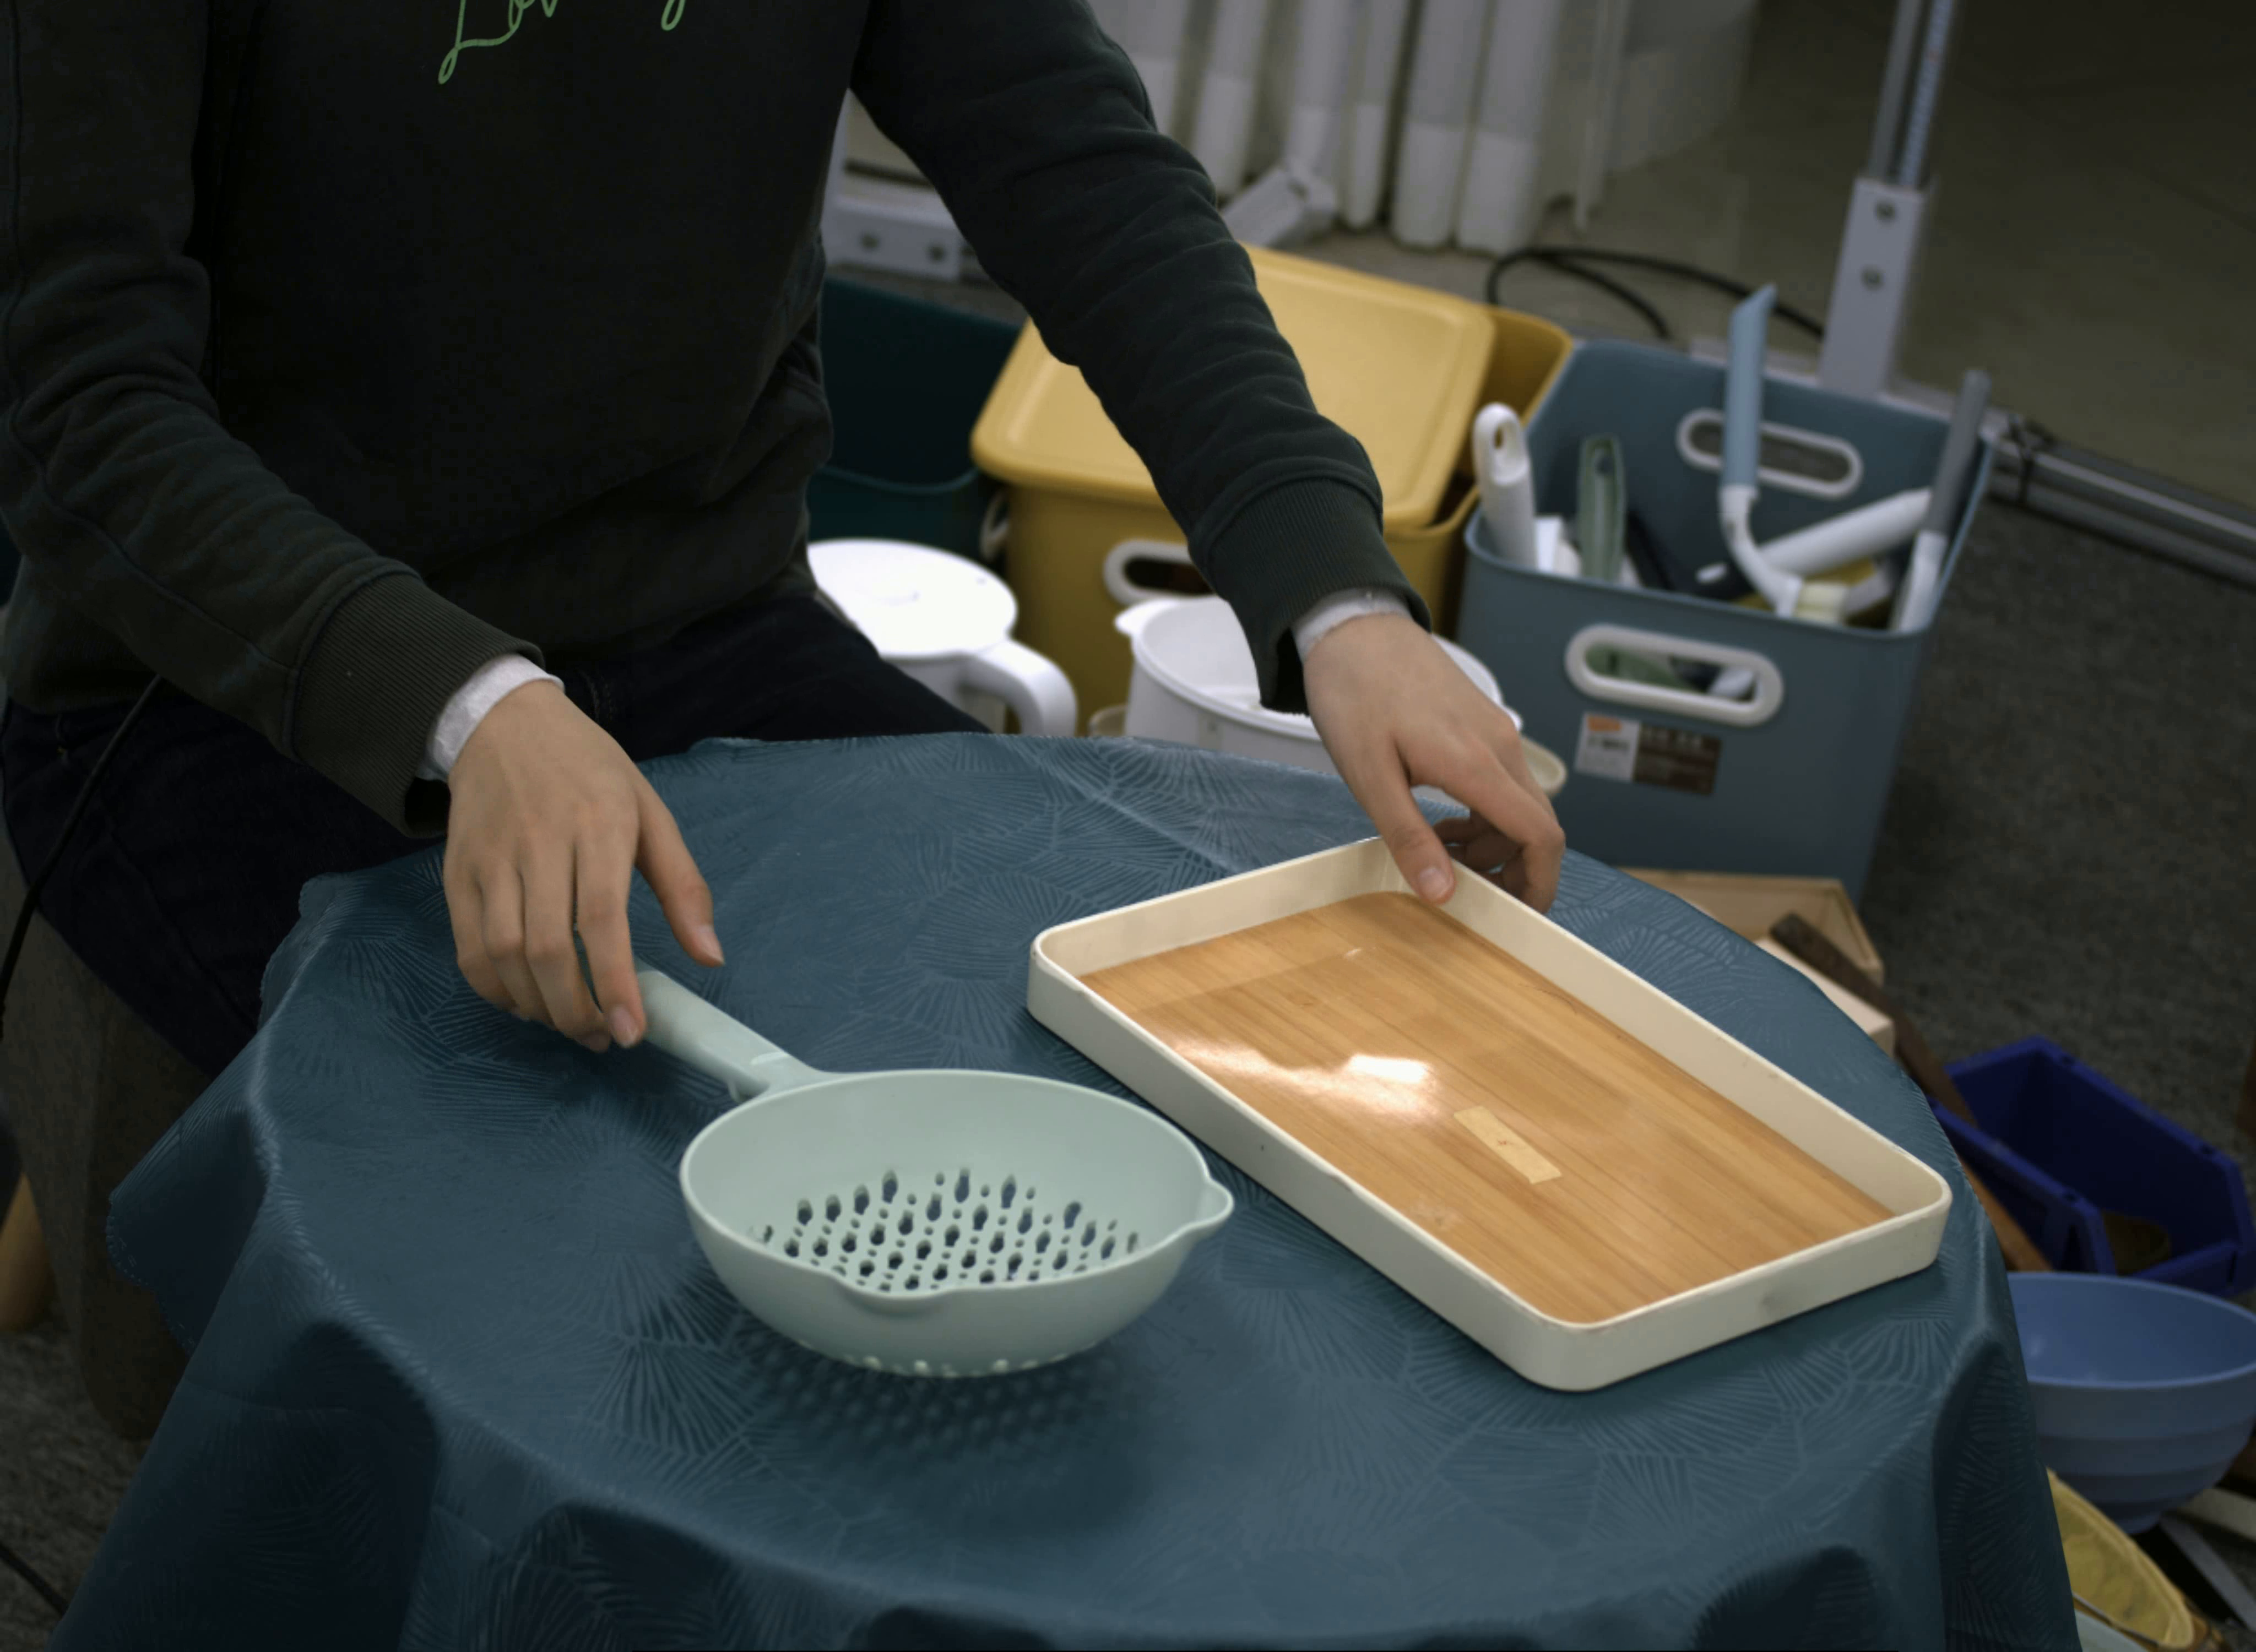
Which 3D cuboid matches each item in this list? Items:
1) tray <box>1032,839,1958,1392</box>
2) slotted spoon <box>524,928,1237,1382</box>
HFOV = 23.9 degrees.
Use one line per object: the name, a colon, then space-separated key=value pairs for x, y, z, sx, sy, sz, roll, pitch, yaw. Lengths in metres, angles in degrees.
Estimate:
tray: x=0.123 y=0.095 z=1.856 sx=0.190 sy=0.027 sz=0.303 roll=-14 pitch=34 yaw=-35
slotted spoon: x=-0.112 y=0.093 z=1.766 sx=0.168 sy=0.075 sz=0.362 roll=-11 pitch=31 yaw=-32
